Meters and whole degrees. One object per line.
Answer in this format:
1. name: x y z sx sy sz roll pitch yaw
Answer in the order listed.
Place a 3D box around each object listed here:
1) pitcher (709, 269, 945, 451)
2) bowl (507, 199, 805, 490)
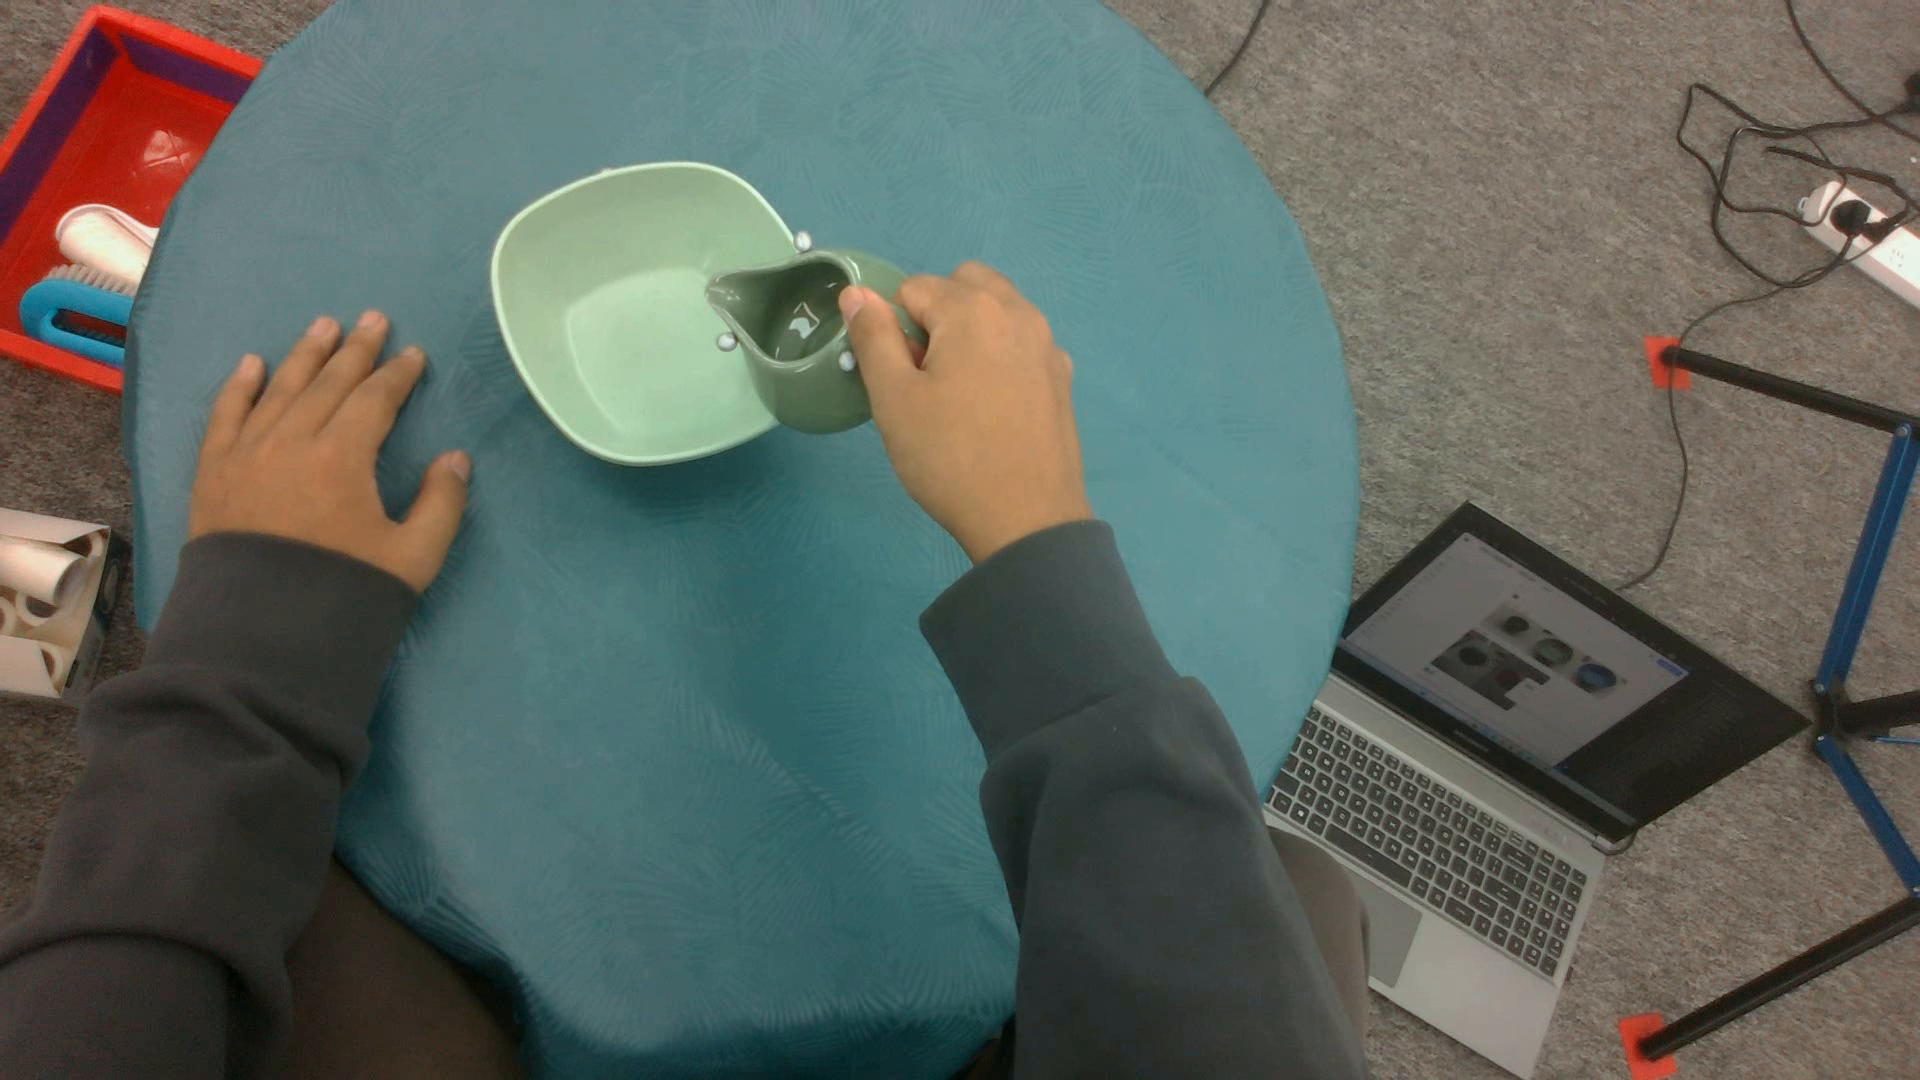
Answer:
1. pitcher: -0.051 -0.082 0.598 0.112 0.056 0.084 10 76 30
2. bowl: -0.137 -0.085 0.656 0.151 0.058 0.152 4 71 -13
